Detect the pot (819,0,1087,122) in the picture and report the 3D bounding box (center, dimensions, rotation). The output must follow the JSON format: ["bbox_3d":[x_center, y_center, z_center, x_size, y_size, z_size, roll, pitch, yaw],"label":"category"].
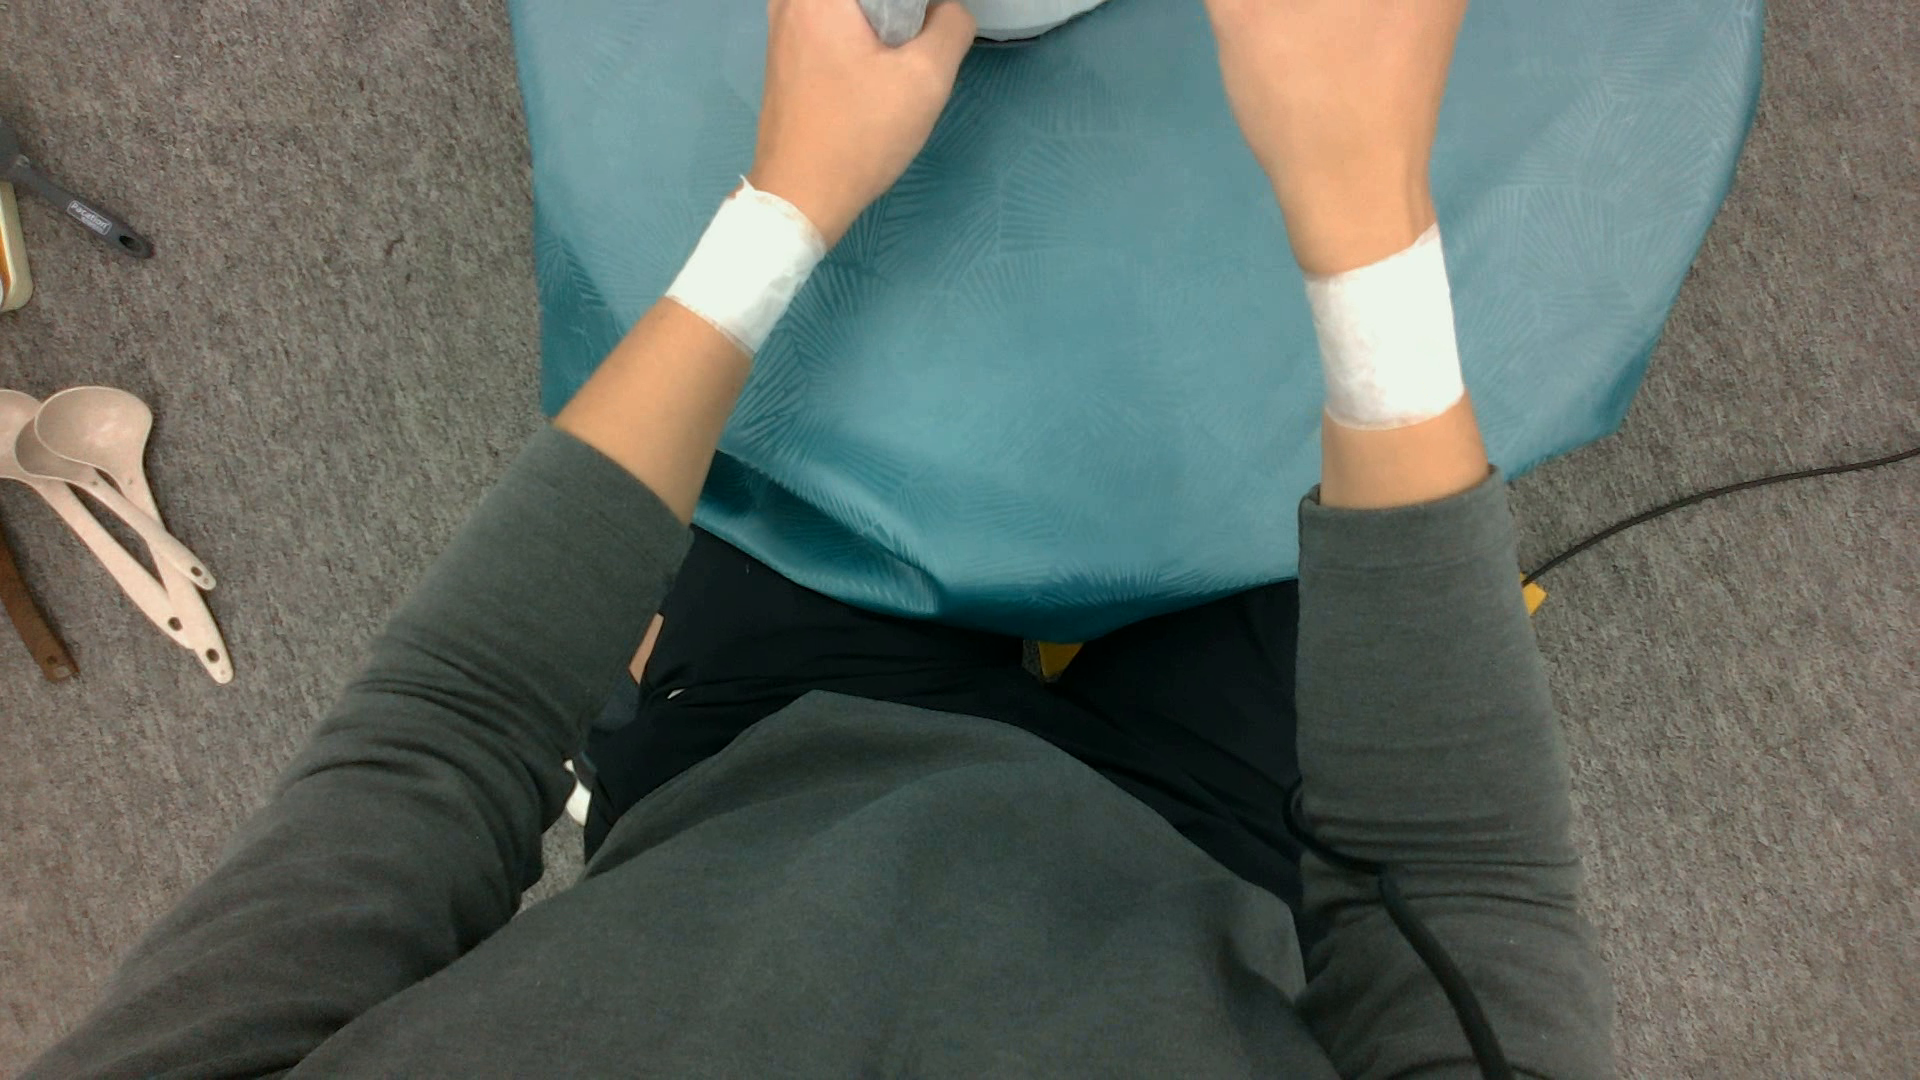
[{"bbox_3d":[0.005,-0.296,0.588,0.179,0.136,0.233,25,90,-5],"label":"pot"}]
